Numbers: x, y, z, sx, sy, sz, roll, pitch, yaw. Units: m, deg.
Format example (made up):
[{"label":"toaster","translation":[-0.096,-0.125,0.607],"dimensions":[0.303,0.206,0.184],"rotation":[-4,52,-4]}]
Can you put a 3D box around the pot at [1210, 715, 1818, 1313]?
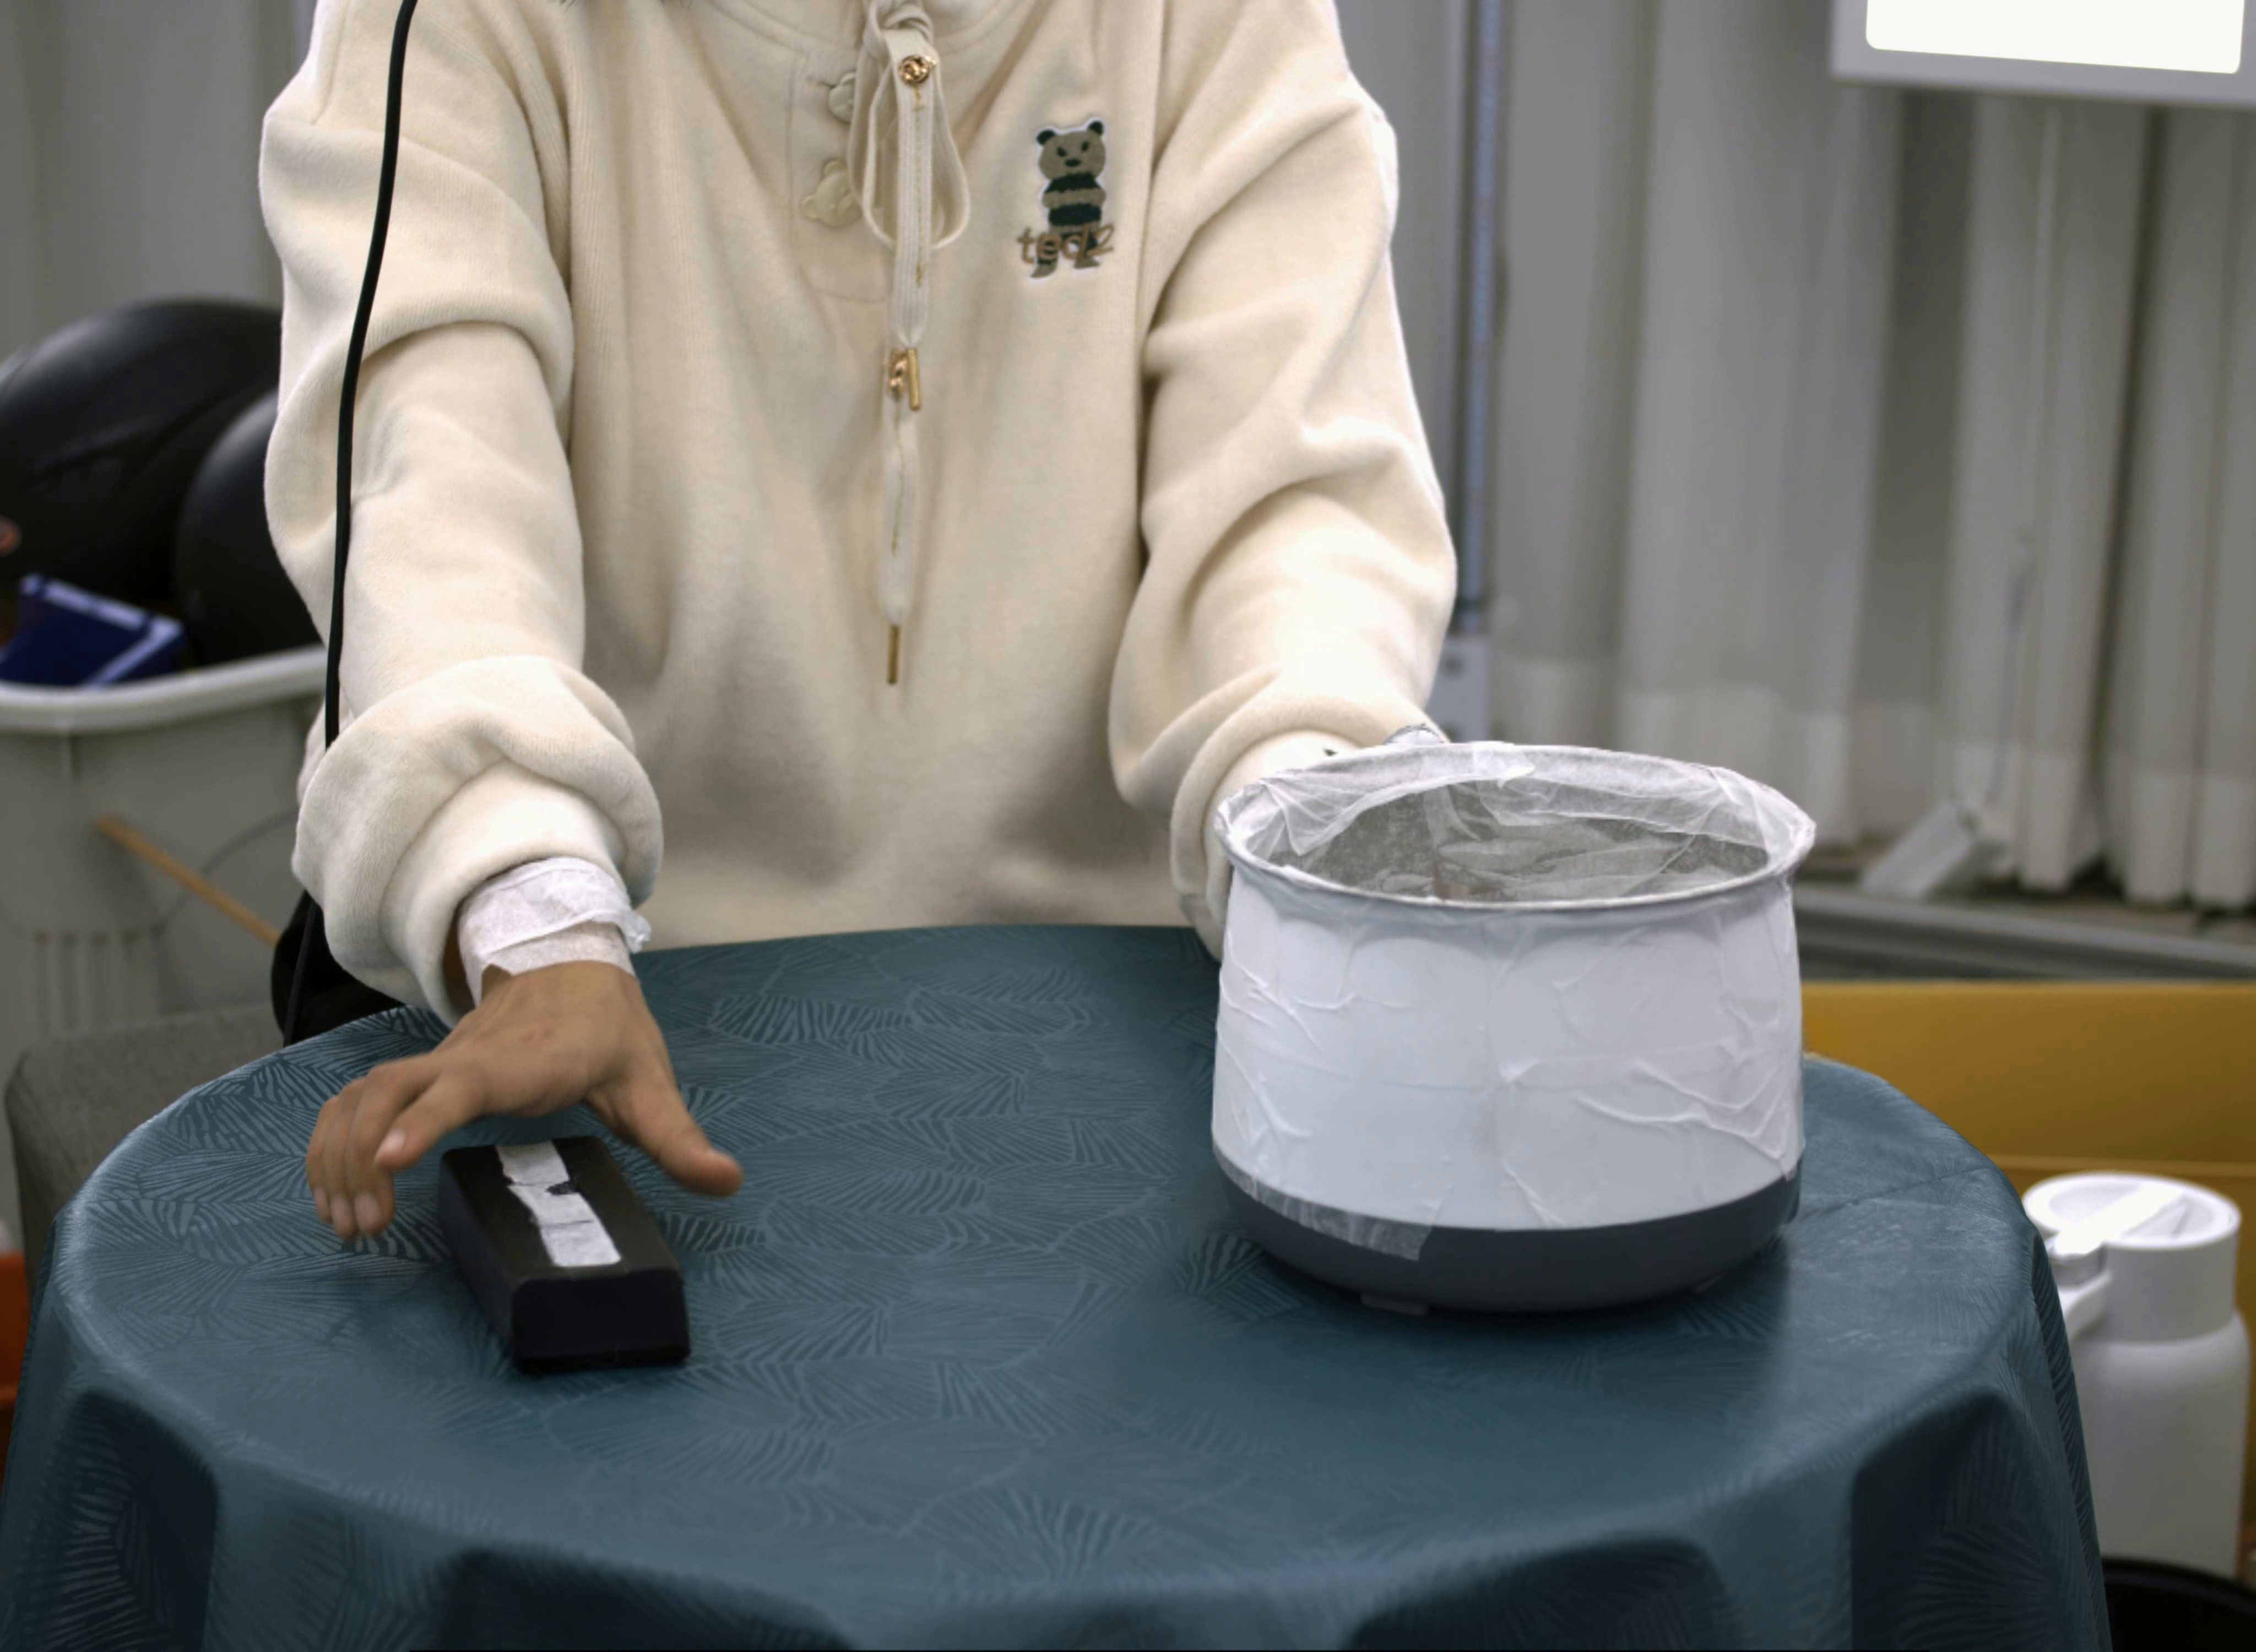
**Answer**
[{"label":"pot","translation":[0.105,0.051,1.585],"dimensions":[0.179,0.138,0.231],"rotation":[-4,17,-15]}]

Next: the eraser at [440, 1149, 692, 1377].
[{"label":"eraser","translation":[-0.163,0.125,1.520],"dimensions":[0.053,0.031,0.124],"rotation":[-3,15,-16]}]
